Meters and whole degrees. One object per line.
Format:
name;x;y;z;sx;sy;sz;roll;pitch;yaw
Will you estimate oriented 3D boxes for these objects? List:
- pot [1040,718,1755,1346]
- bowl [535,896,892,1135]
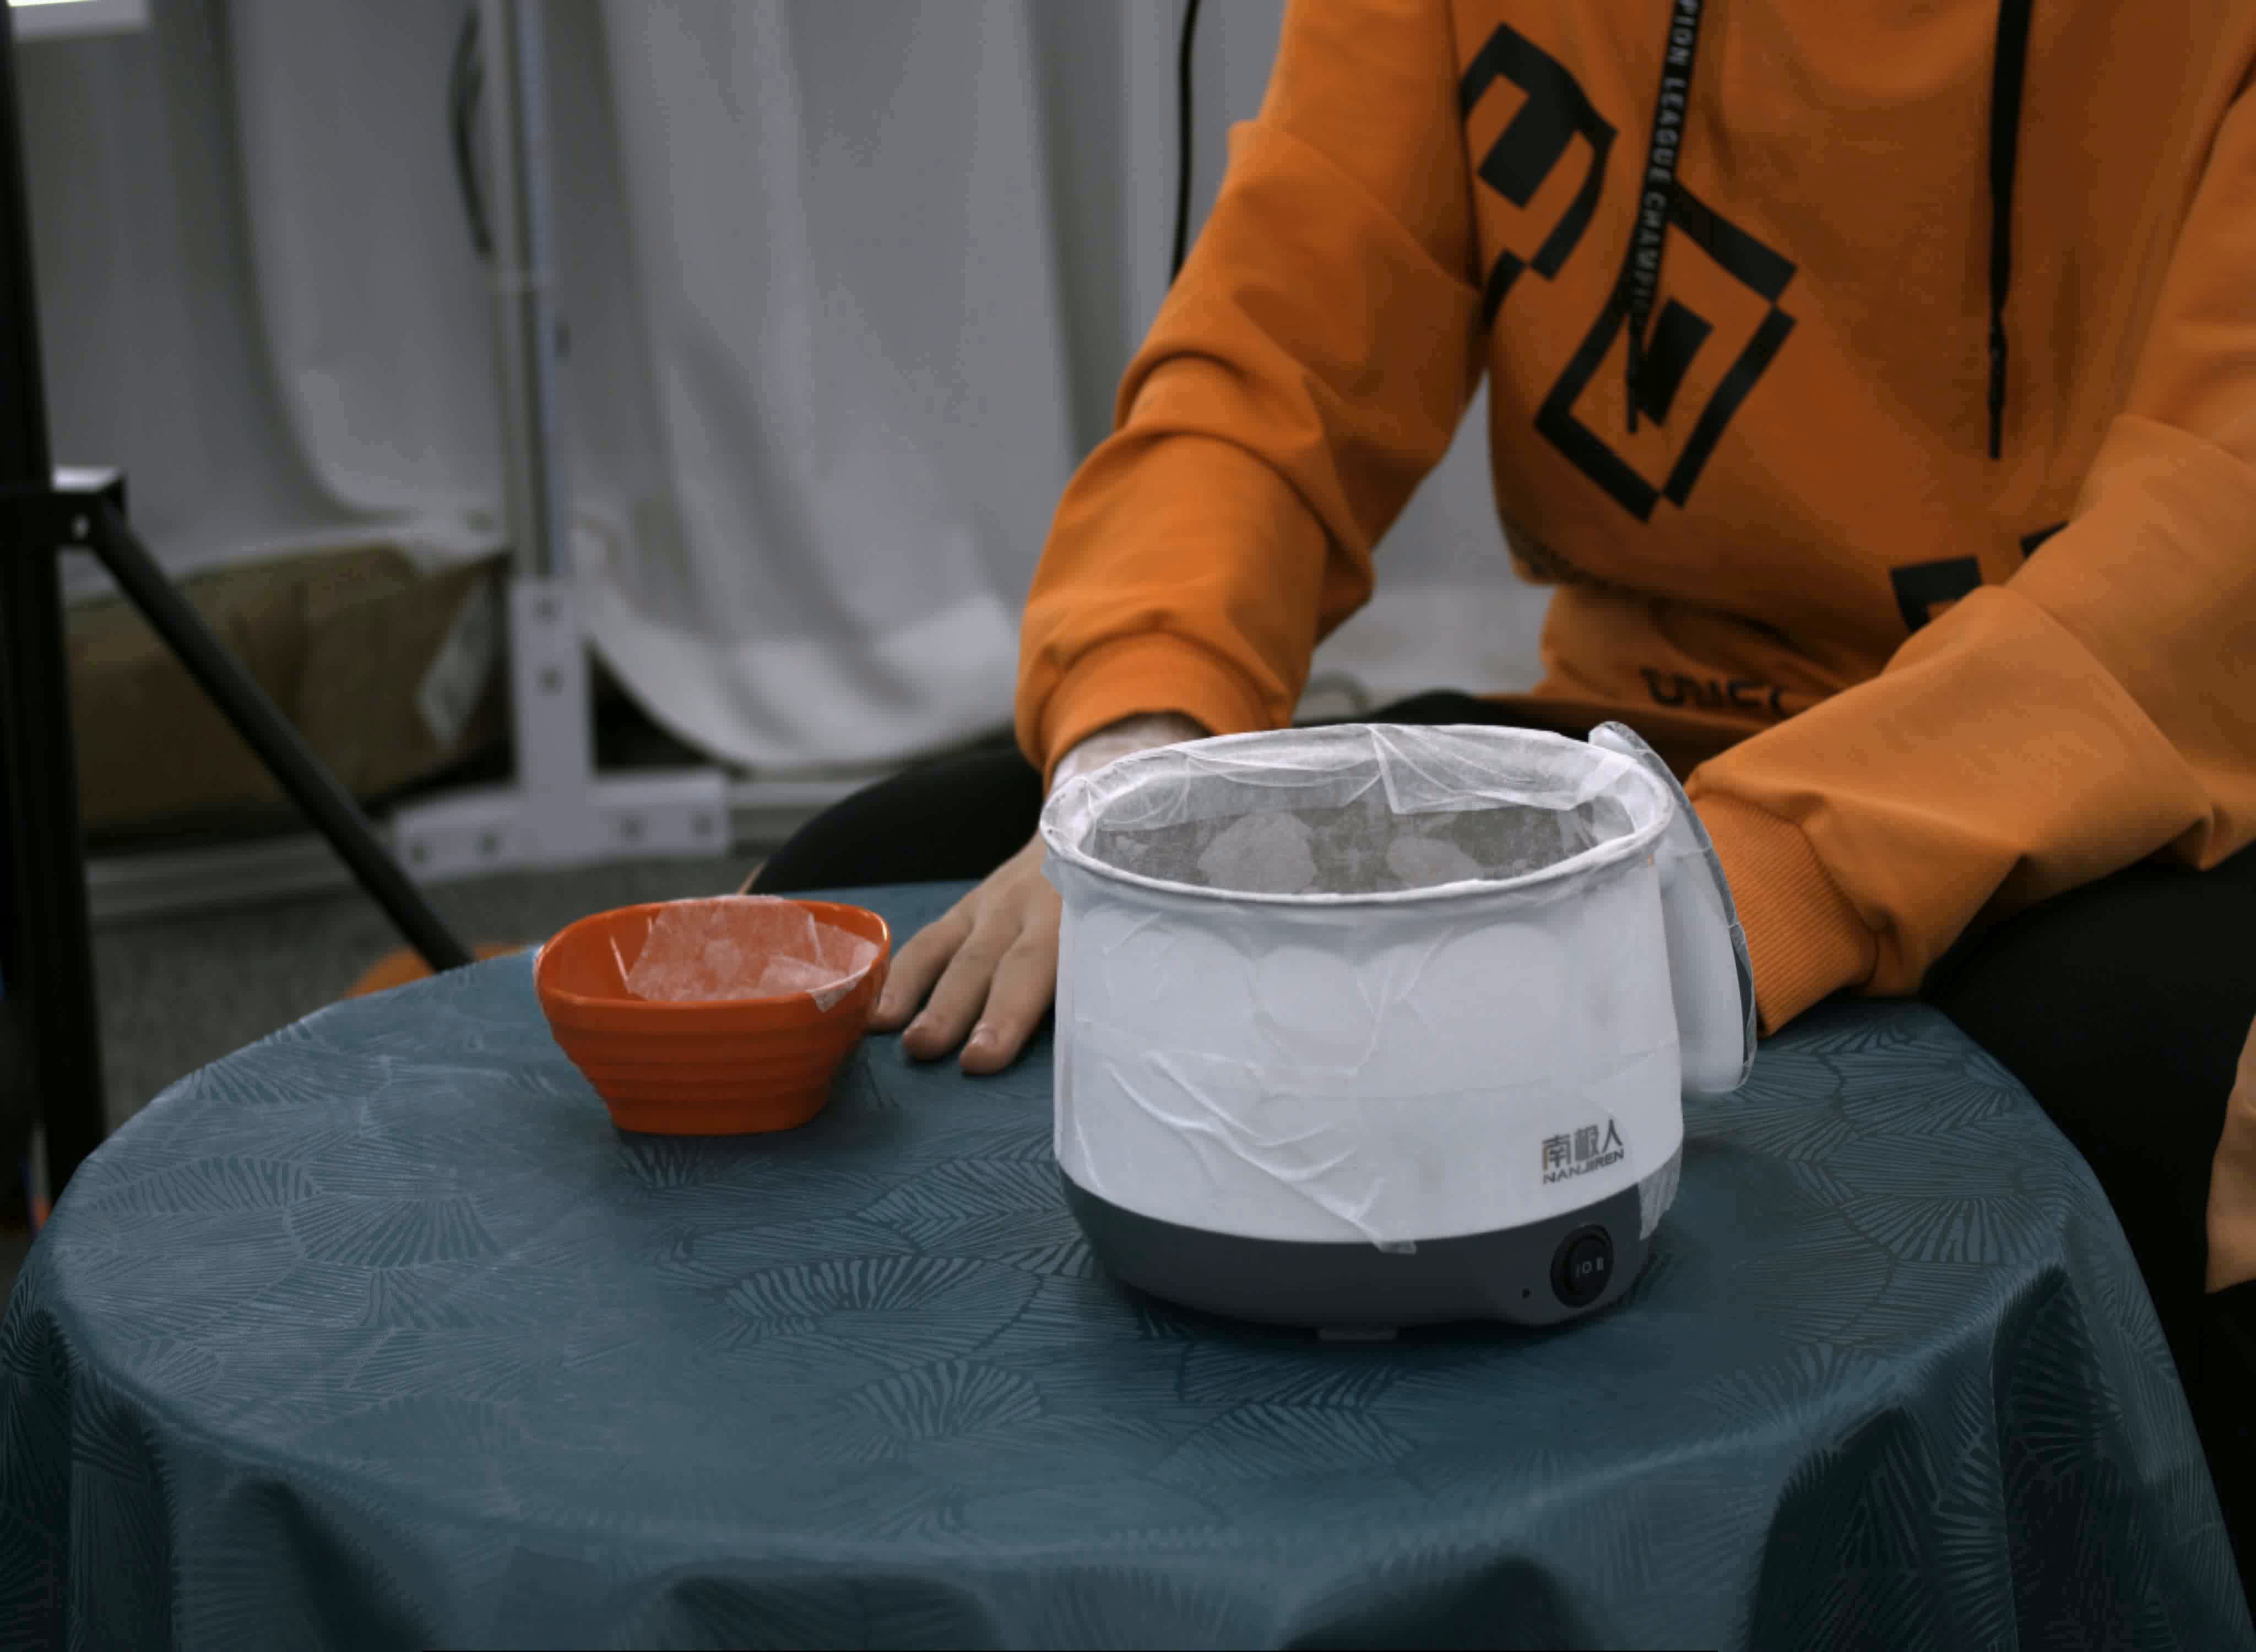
pot;0.087;0.050;1.497;0.228;0.136;0.183;-15;20;-38
bowl;-0.126;0.061;1.652;0.118;0.051;0.119;-4;16;0
